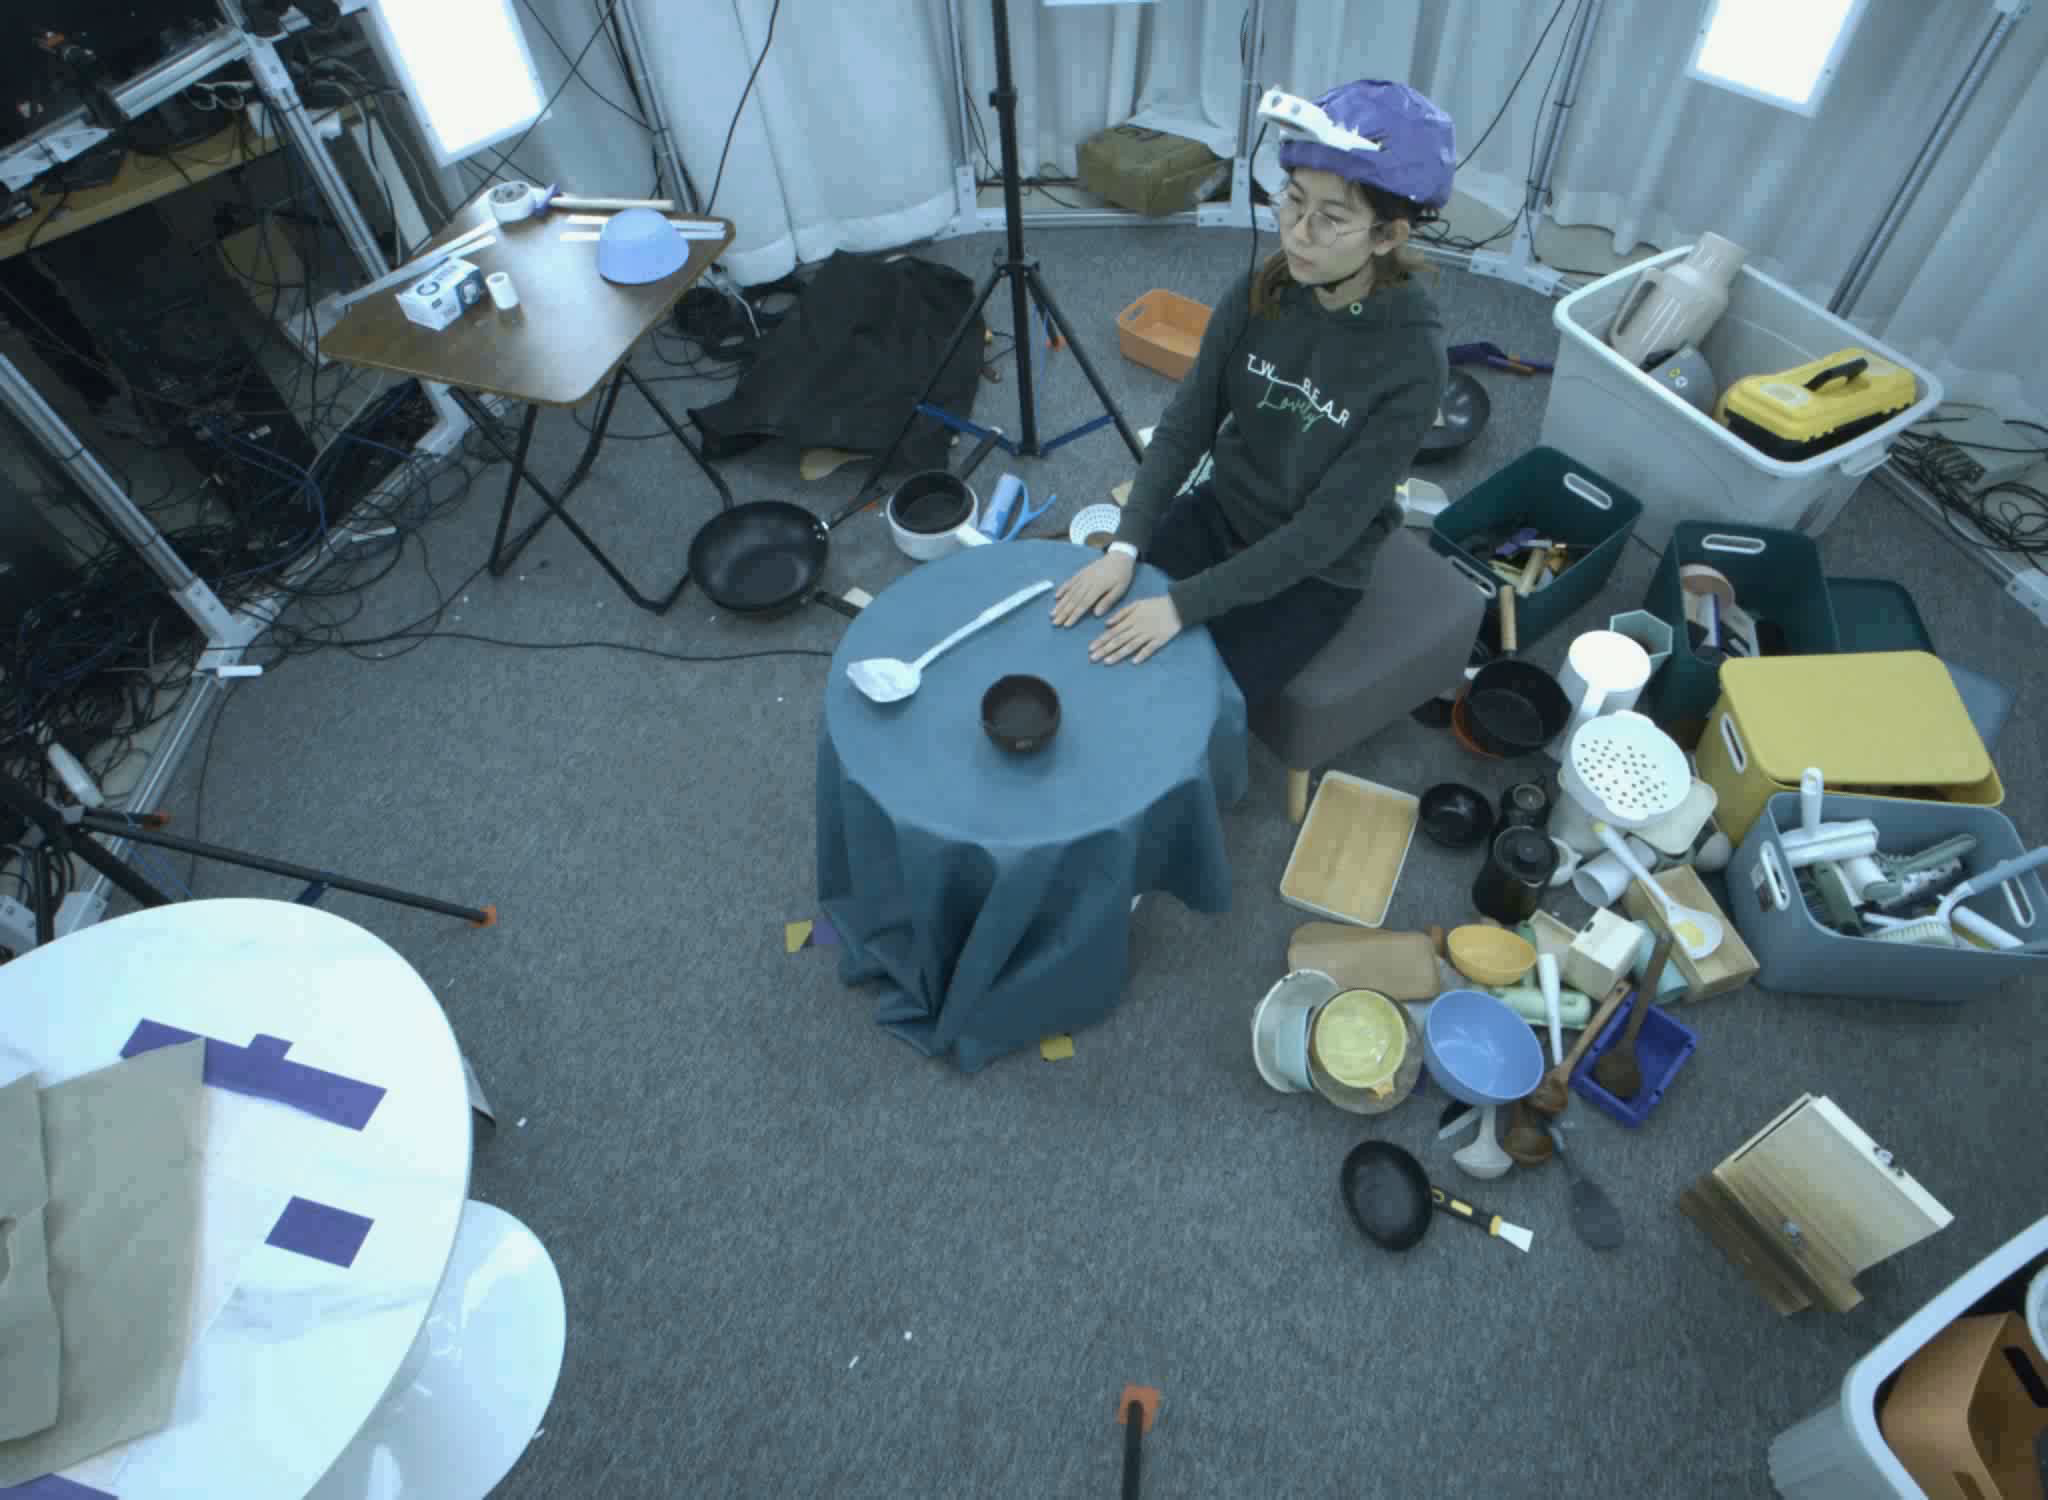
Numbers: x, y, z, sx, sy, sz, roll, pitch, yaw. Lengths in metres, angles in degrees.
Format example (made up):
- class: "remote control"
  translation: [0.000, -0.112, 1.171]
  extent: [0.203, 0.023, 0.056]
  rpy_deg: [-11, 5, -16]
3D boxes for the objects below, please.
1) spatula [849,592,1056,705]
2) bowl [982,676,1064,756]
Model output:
- class: "spatula"
  translation: [-0.101, -0.172, 1.898]
  extent: [0.368, 0.045, 0.097]
  rpy_deg: [-34, 58, -20]
- class: "bowl"
  translation: [-0.001, -0.041, 1.783]
  extent: [0.118, 0.070, 0.117]
  rpy_deg: [1, 55, 0]
